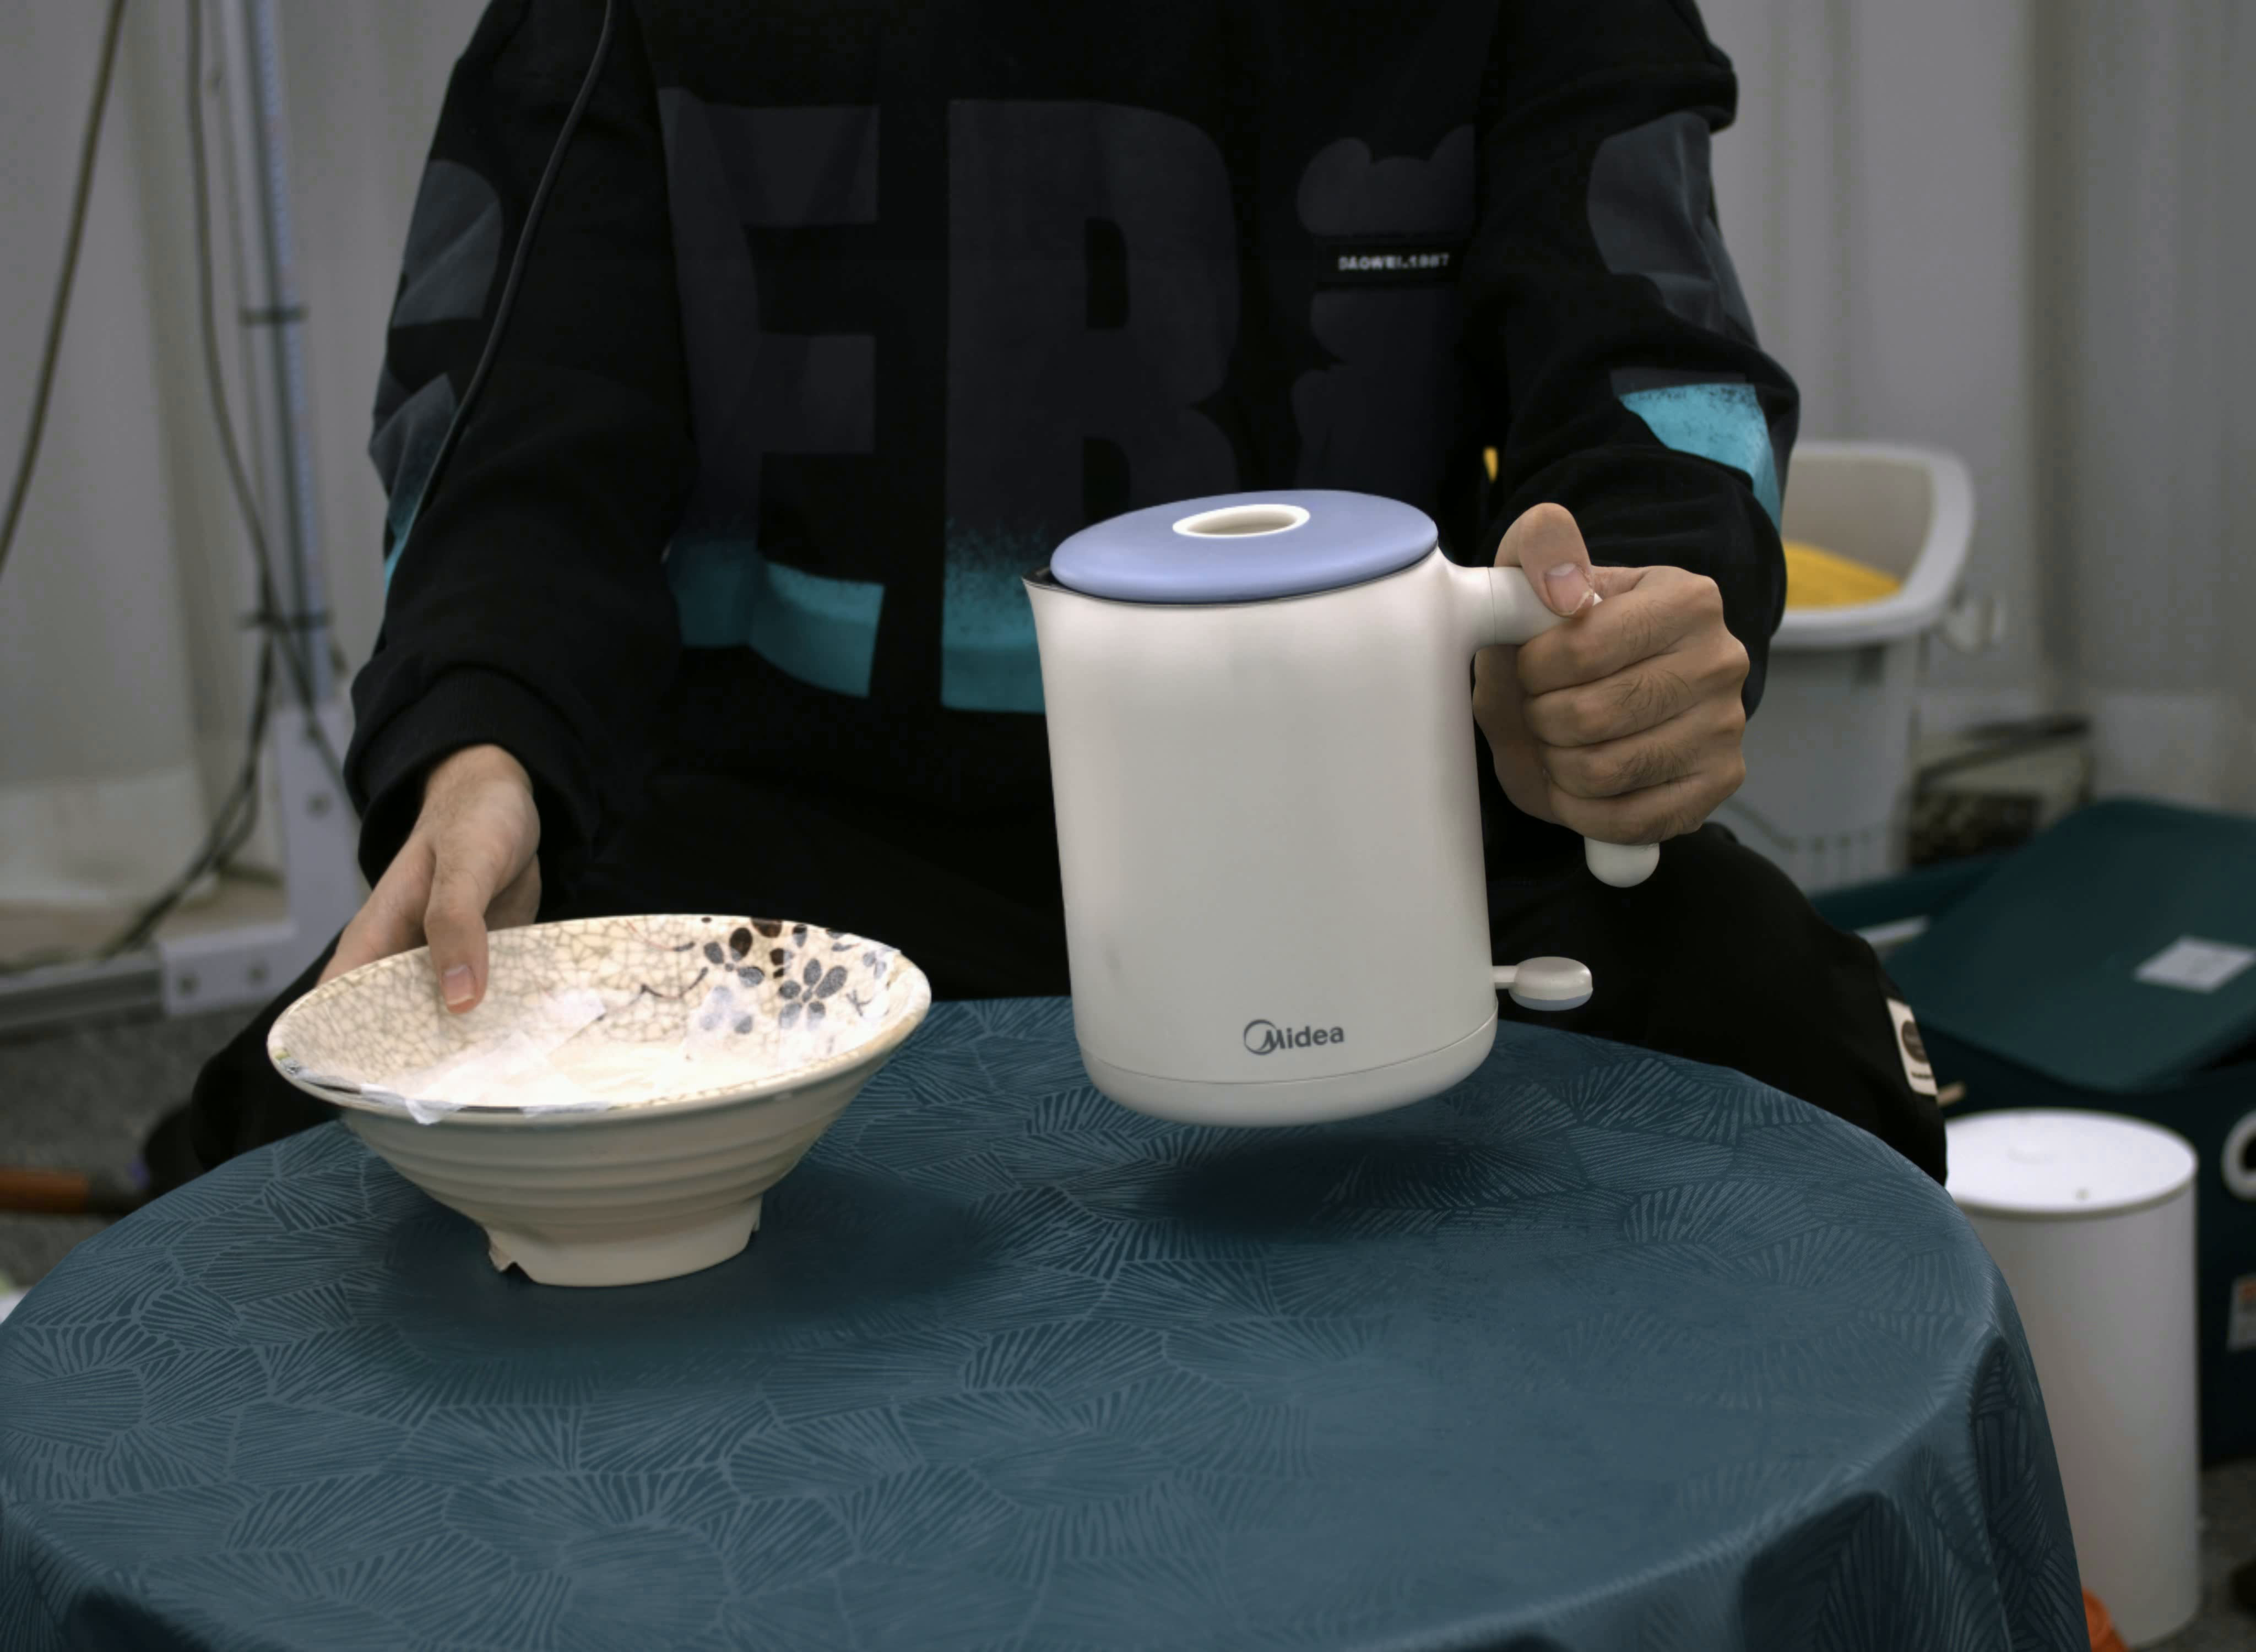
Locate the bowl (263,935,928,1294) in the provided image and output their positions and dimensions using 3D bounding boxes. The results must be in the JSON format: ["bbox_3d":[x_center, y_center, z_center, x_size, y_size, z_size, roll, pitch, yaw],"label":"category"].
[{"bbox_3d":[-0.161,0.094,1.681,0.203,0.078,0.205,-2,12,0],"label":"bowl"}]

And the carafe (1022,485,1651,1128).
[{"bbox_3d":[0.066,-0.009,1.684,0.190,0.182,0.133,-3,15,-2],"label":"carafe"}]
